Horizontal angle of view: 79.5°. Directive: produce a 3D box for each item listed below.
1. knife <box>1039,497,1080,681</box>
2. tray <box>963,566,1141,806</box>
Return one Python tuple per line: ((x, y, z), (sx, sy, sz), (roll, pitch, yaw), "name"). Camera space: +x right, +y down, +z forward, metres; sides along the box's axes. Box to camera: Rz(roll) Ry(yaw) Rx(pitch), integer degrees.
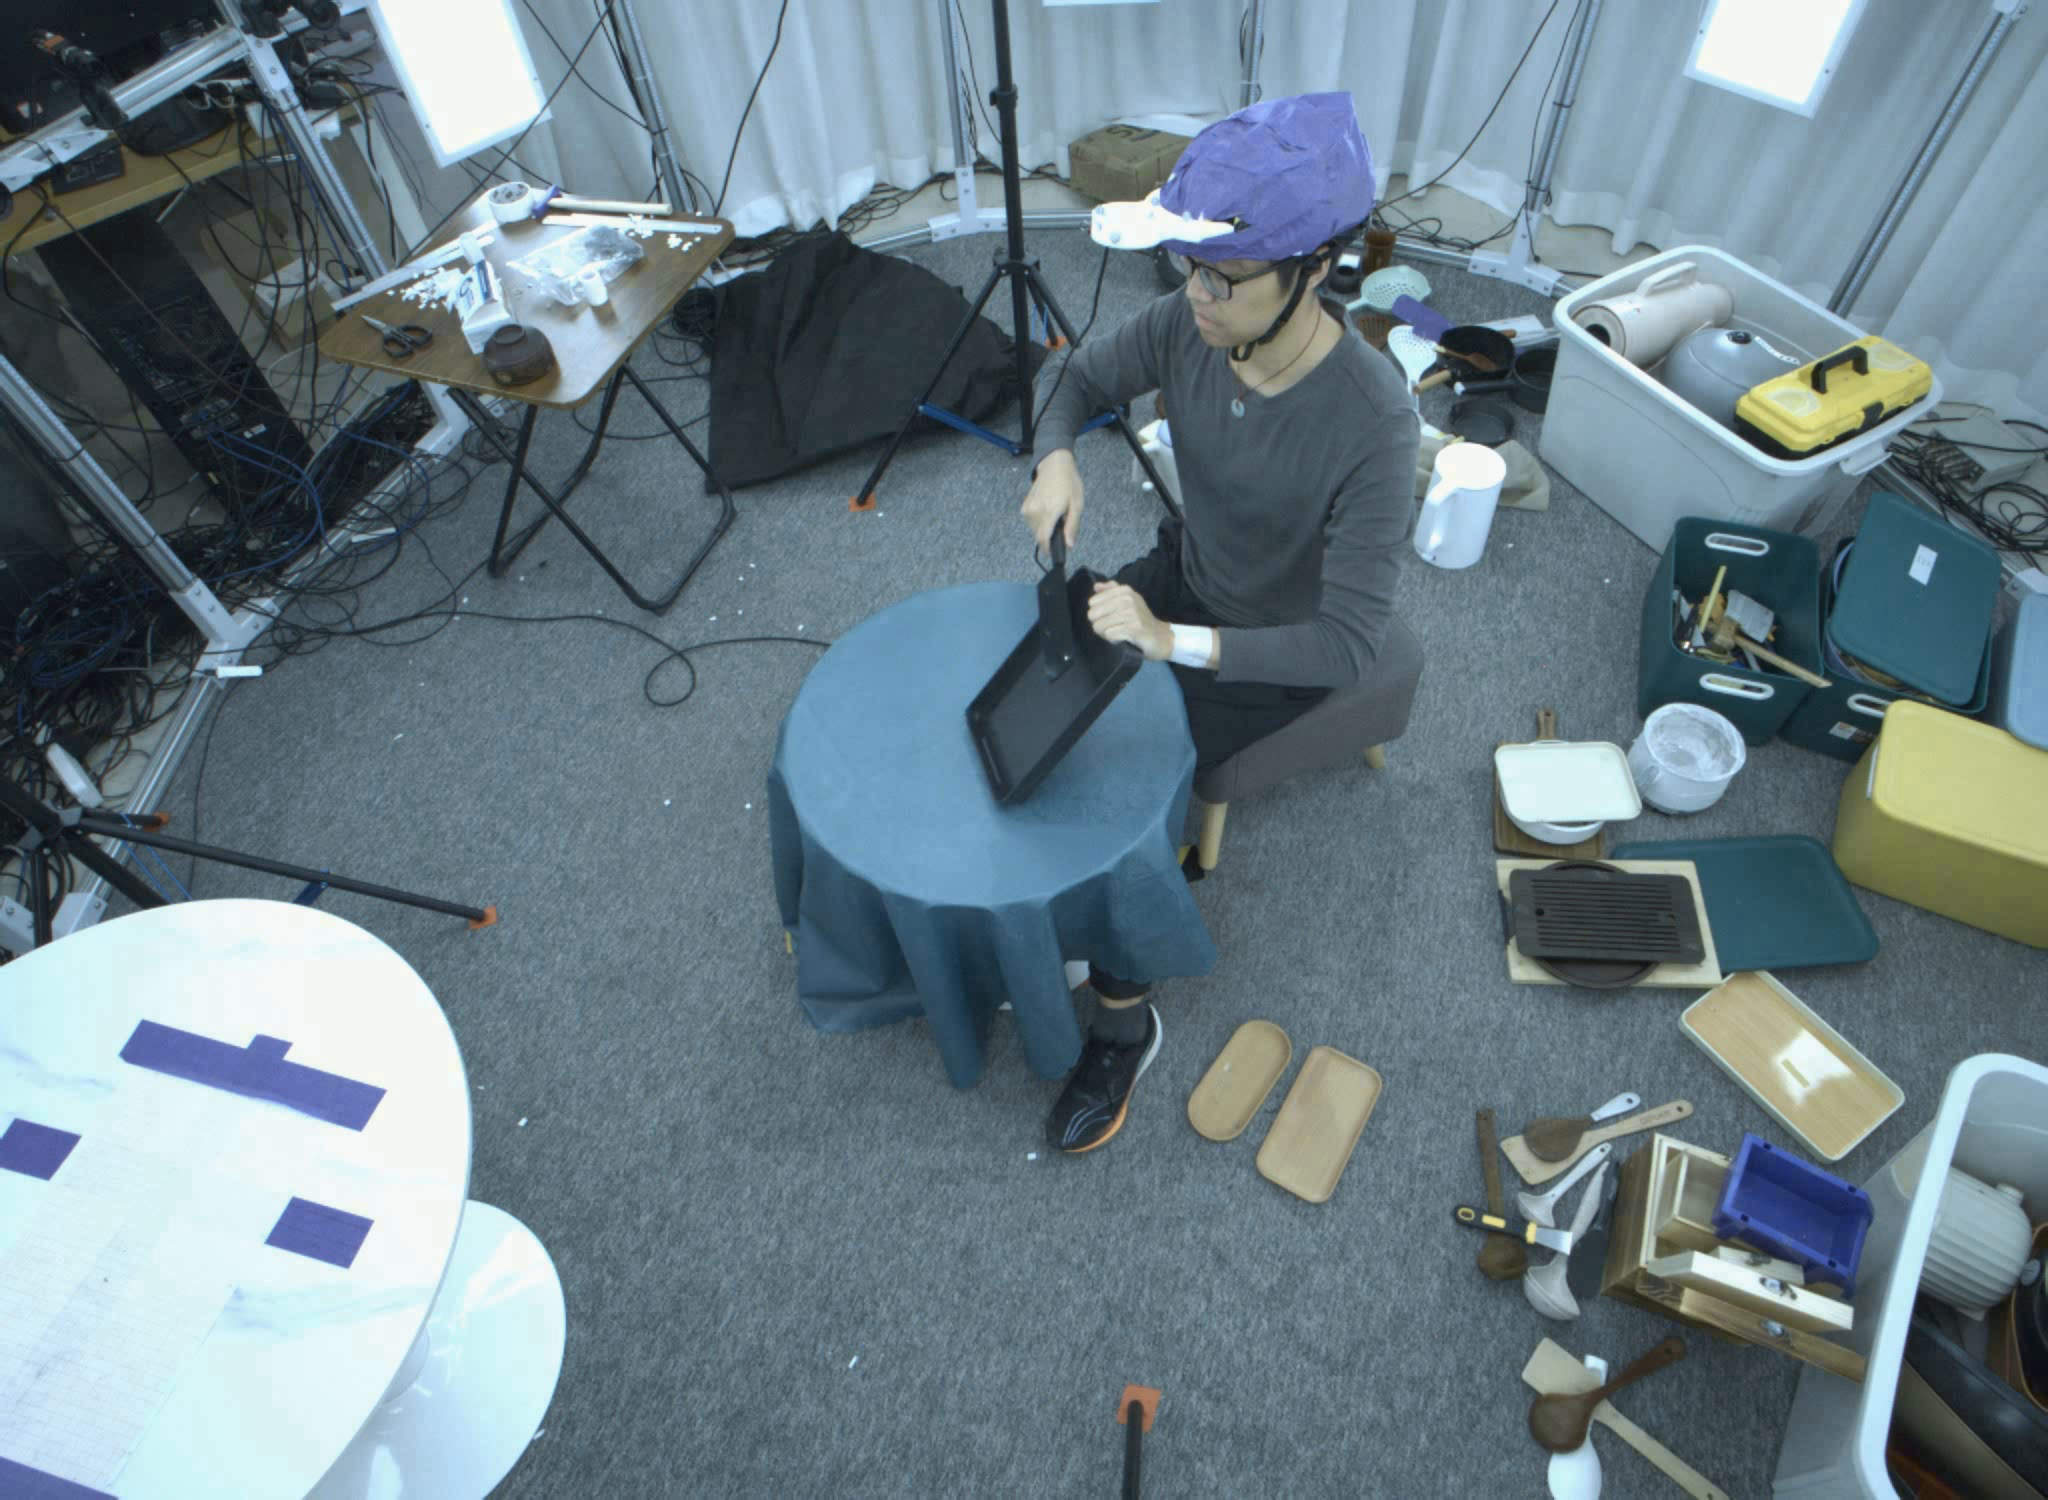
((0.044, -0.230, 1.688), (0.021, 0.080, 0.299), (18, 55, -32), "knife")
((0.031, -0.083, 1.693), (0.038, 0.316, 0.181), (10, 42, -38), "tray")
